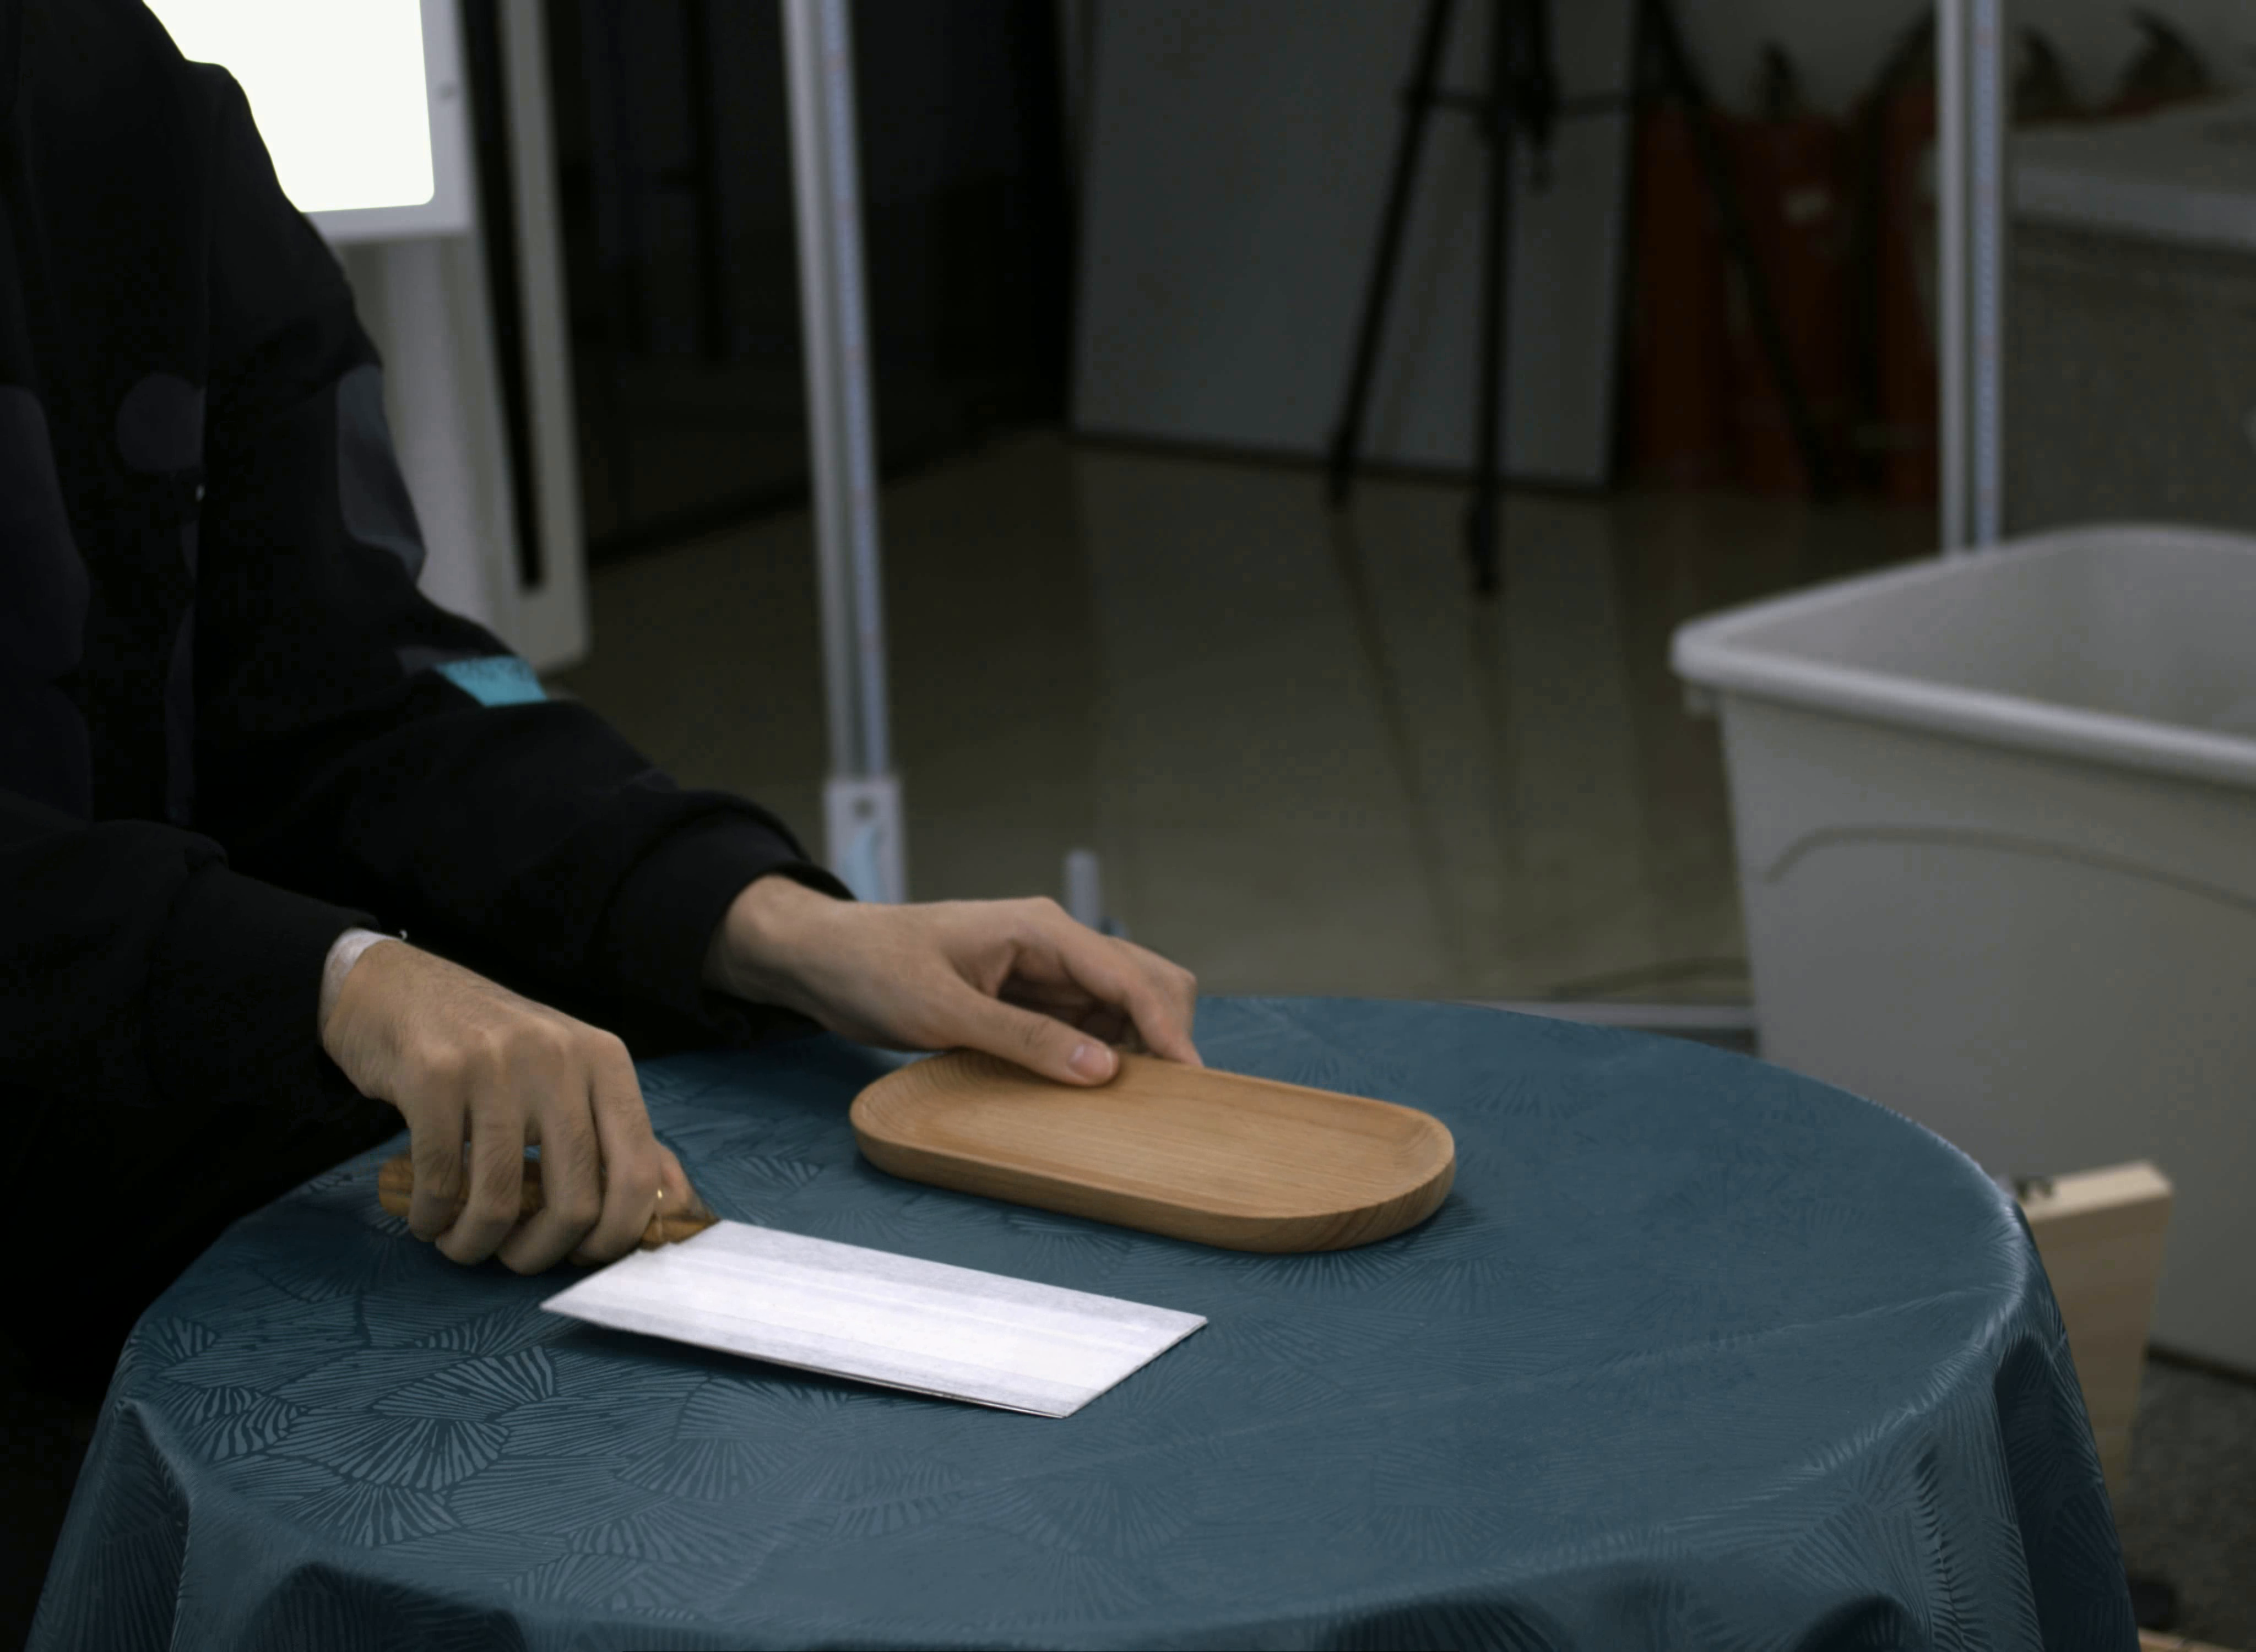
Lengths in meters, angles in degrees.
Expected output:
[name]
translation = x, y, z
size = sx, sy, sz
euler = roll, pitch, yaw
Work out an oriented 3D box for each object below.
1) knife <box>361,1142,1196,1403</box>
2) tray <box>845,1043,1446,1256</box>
[knife]
translation = -0.126, 0.141, 1.679
size = 0.307, 0.021, 0.091
euler = 9, 20, 30
[tray]
translation = 0.004, 0.106, 1.783
size = 0.233, 0.020, 0.100
euler = 7, 22, 41
